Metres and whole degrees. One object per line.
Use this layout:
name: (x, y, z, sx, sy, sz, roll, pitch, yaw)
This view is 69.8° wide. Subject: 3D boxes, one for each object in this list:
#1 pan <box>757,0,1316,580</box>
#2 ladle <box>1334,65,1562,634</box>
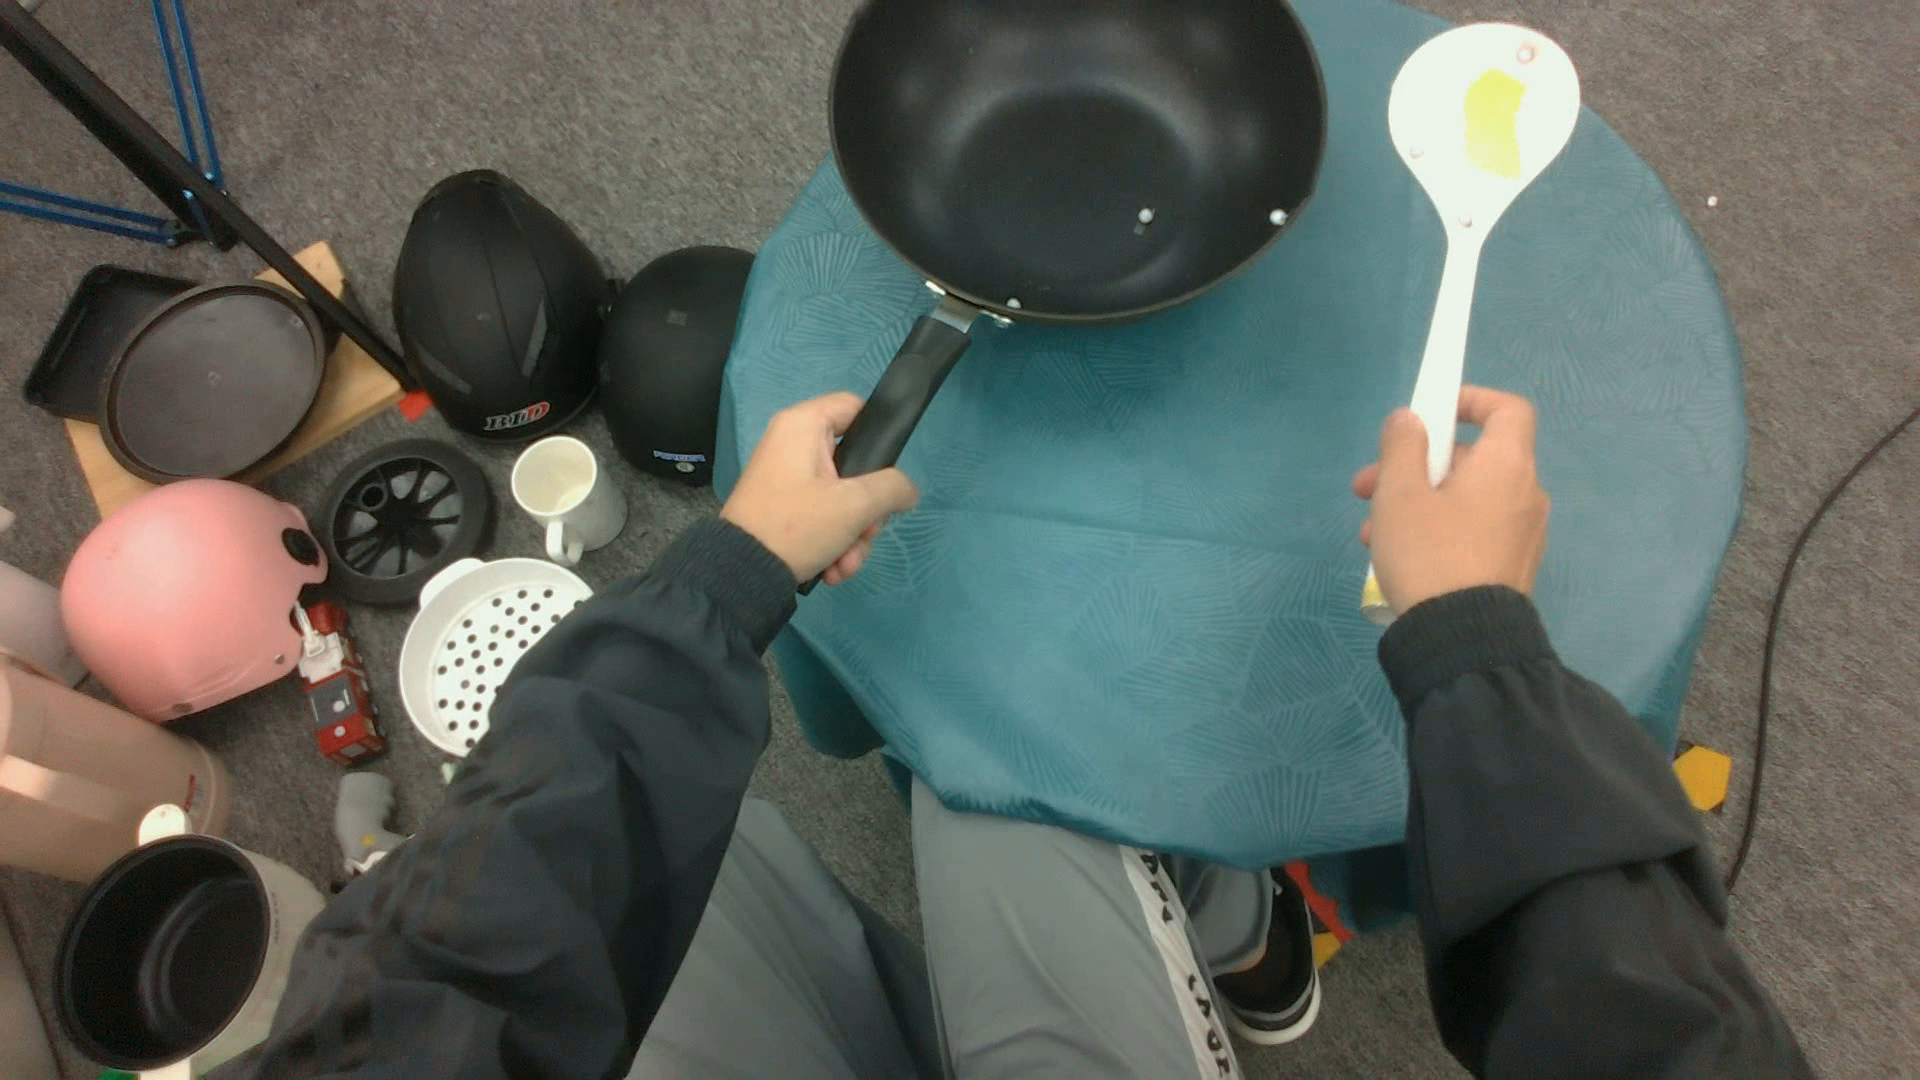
pan: (0.023, -0.163, 0.811, 0.288, 0.086, 0.464, 26, 74, 13)
ladle: (0.238, -0.099, 0.702, 0.090, 0.070, 0.294, 13, 74, 16)
